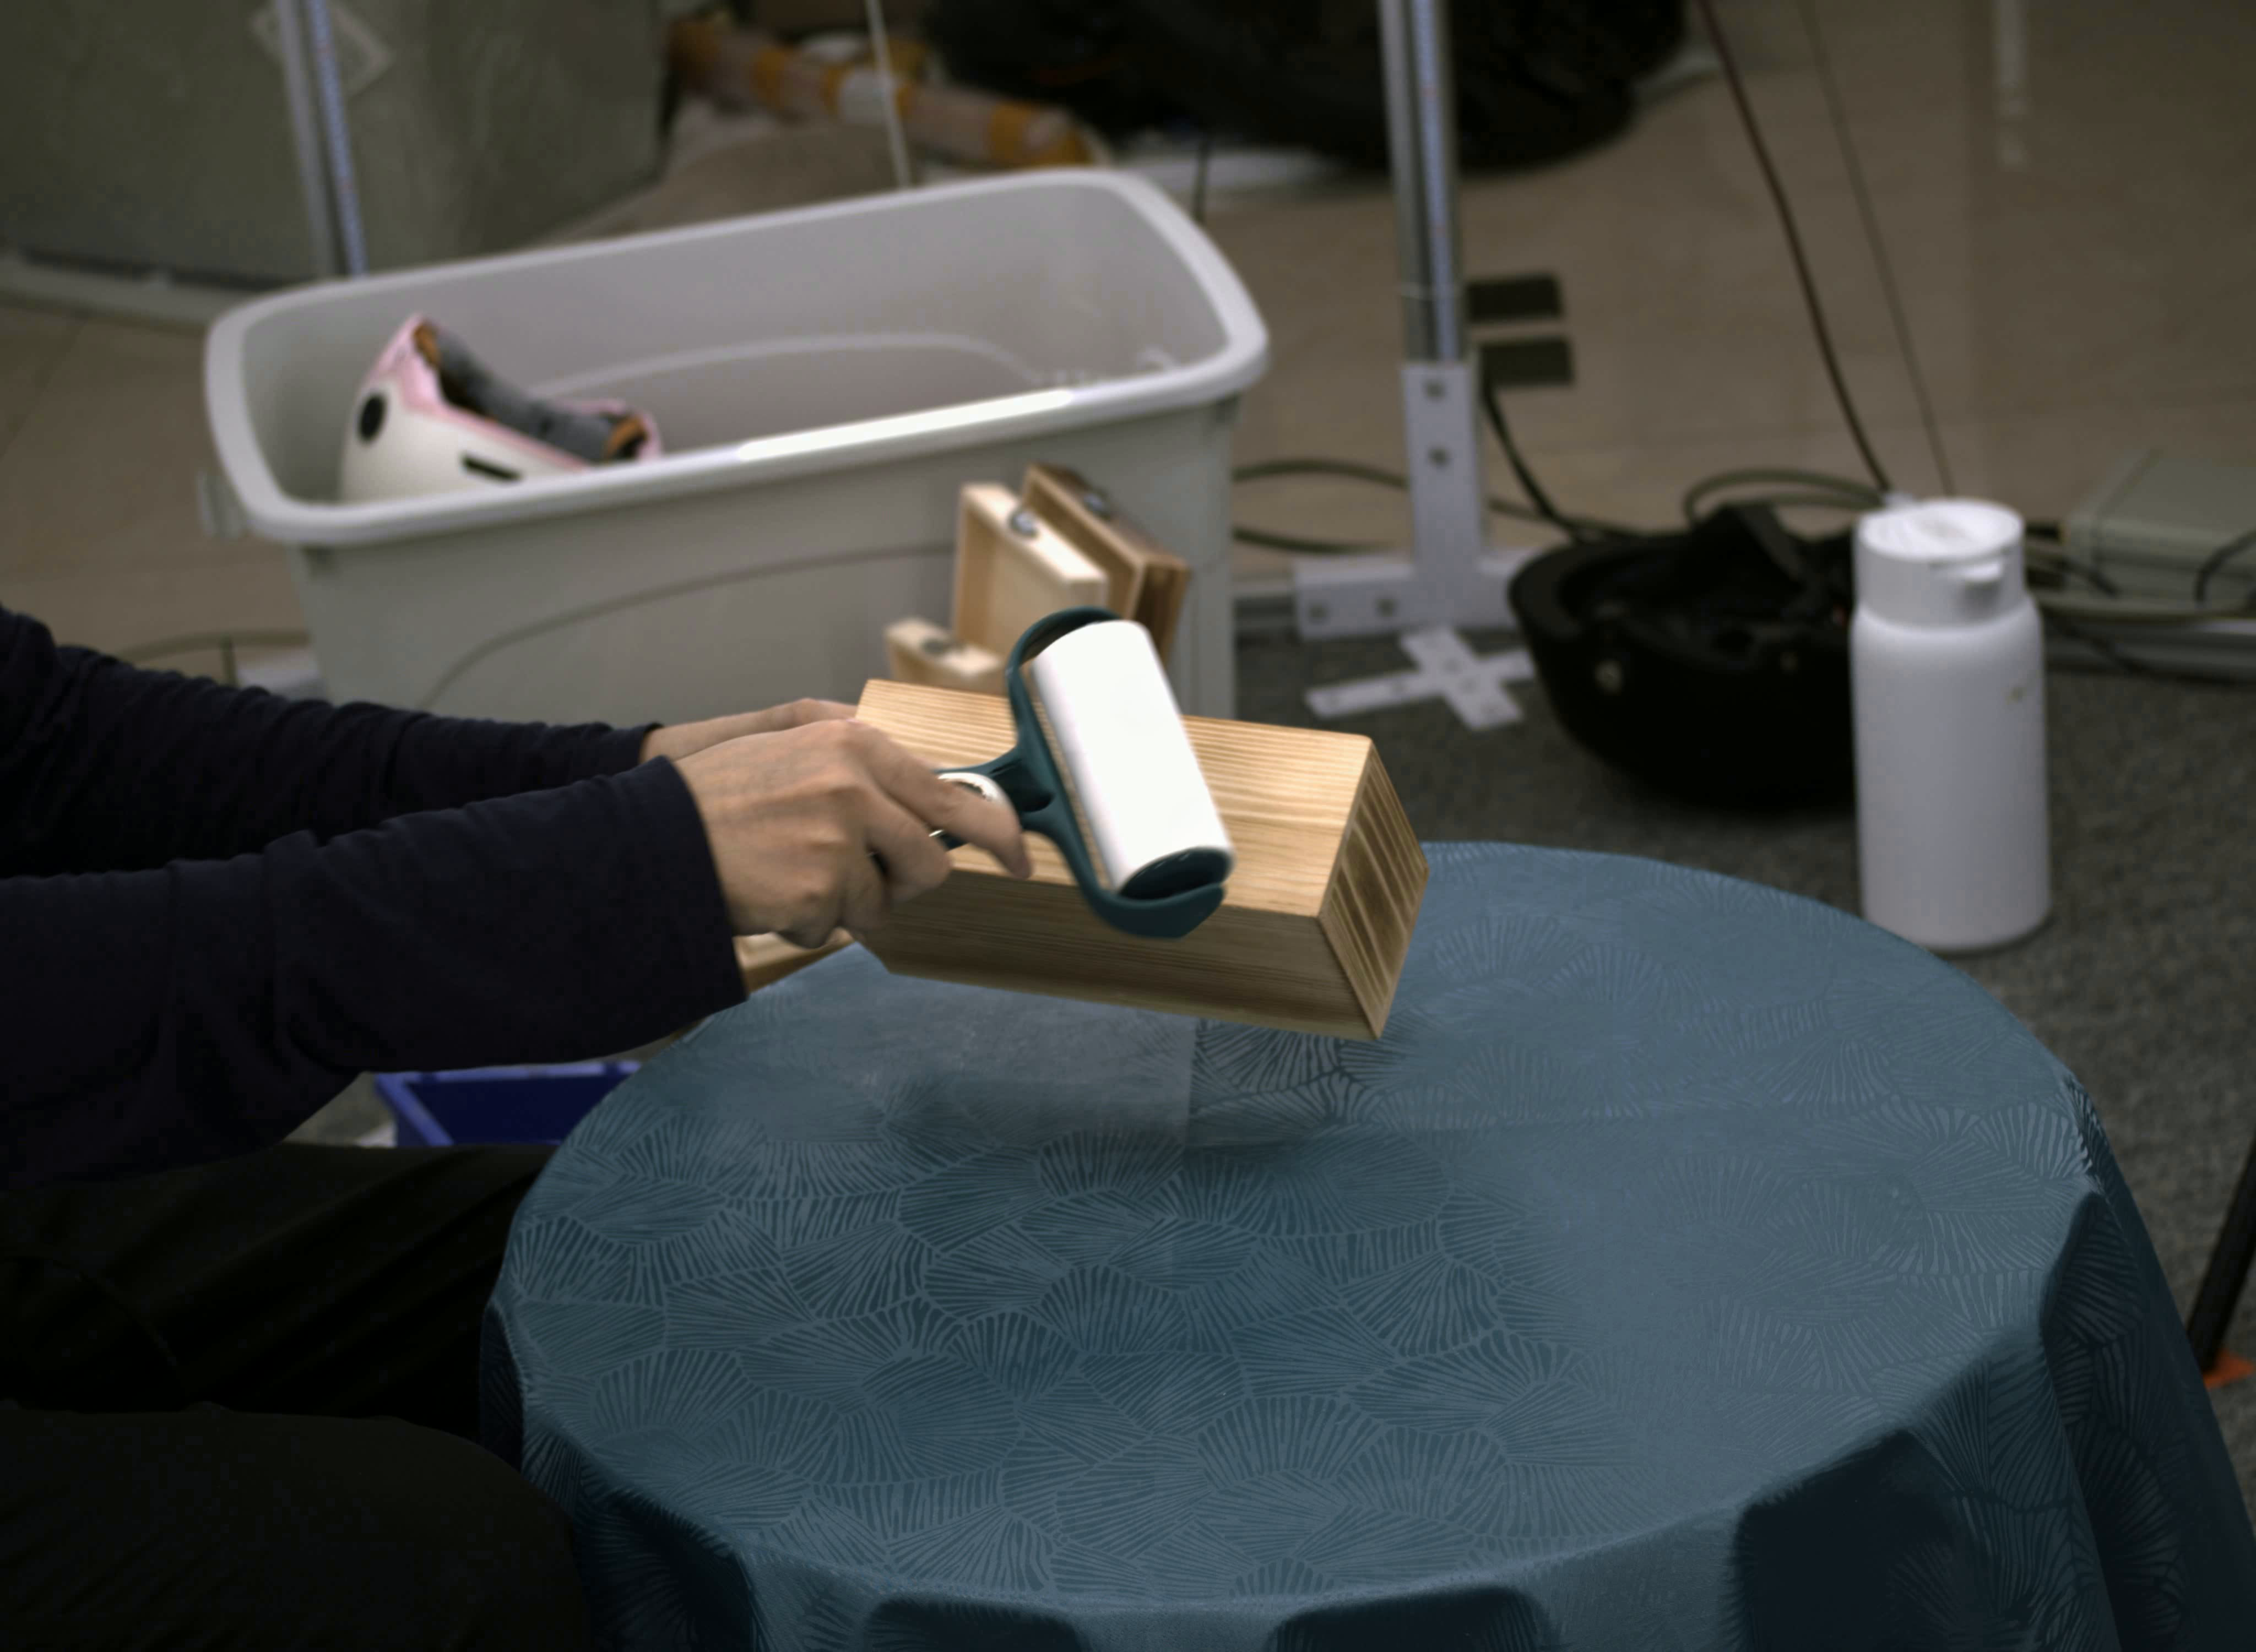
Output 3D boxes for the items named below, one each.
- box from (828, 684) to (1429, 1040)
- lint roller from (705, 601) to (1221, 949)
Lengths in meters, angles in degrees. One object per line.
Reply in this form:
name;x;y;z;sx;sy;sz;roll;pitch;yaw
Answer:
box;-0.001;0.014;2.211;0.210;0.109;0.079;7;64;19
lint roller;-0.065;-0.007;2.055;0.179;0.049;0.132;-10;63;-21
